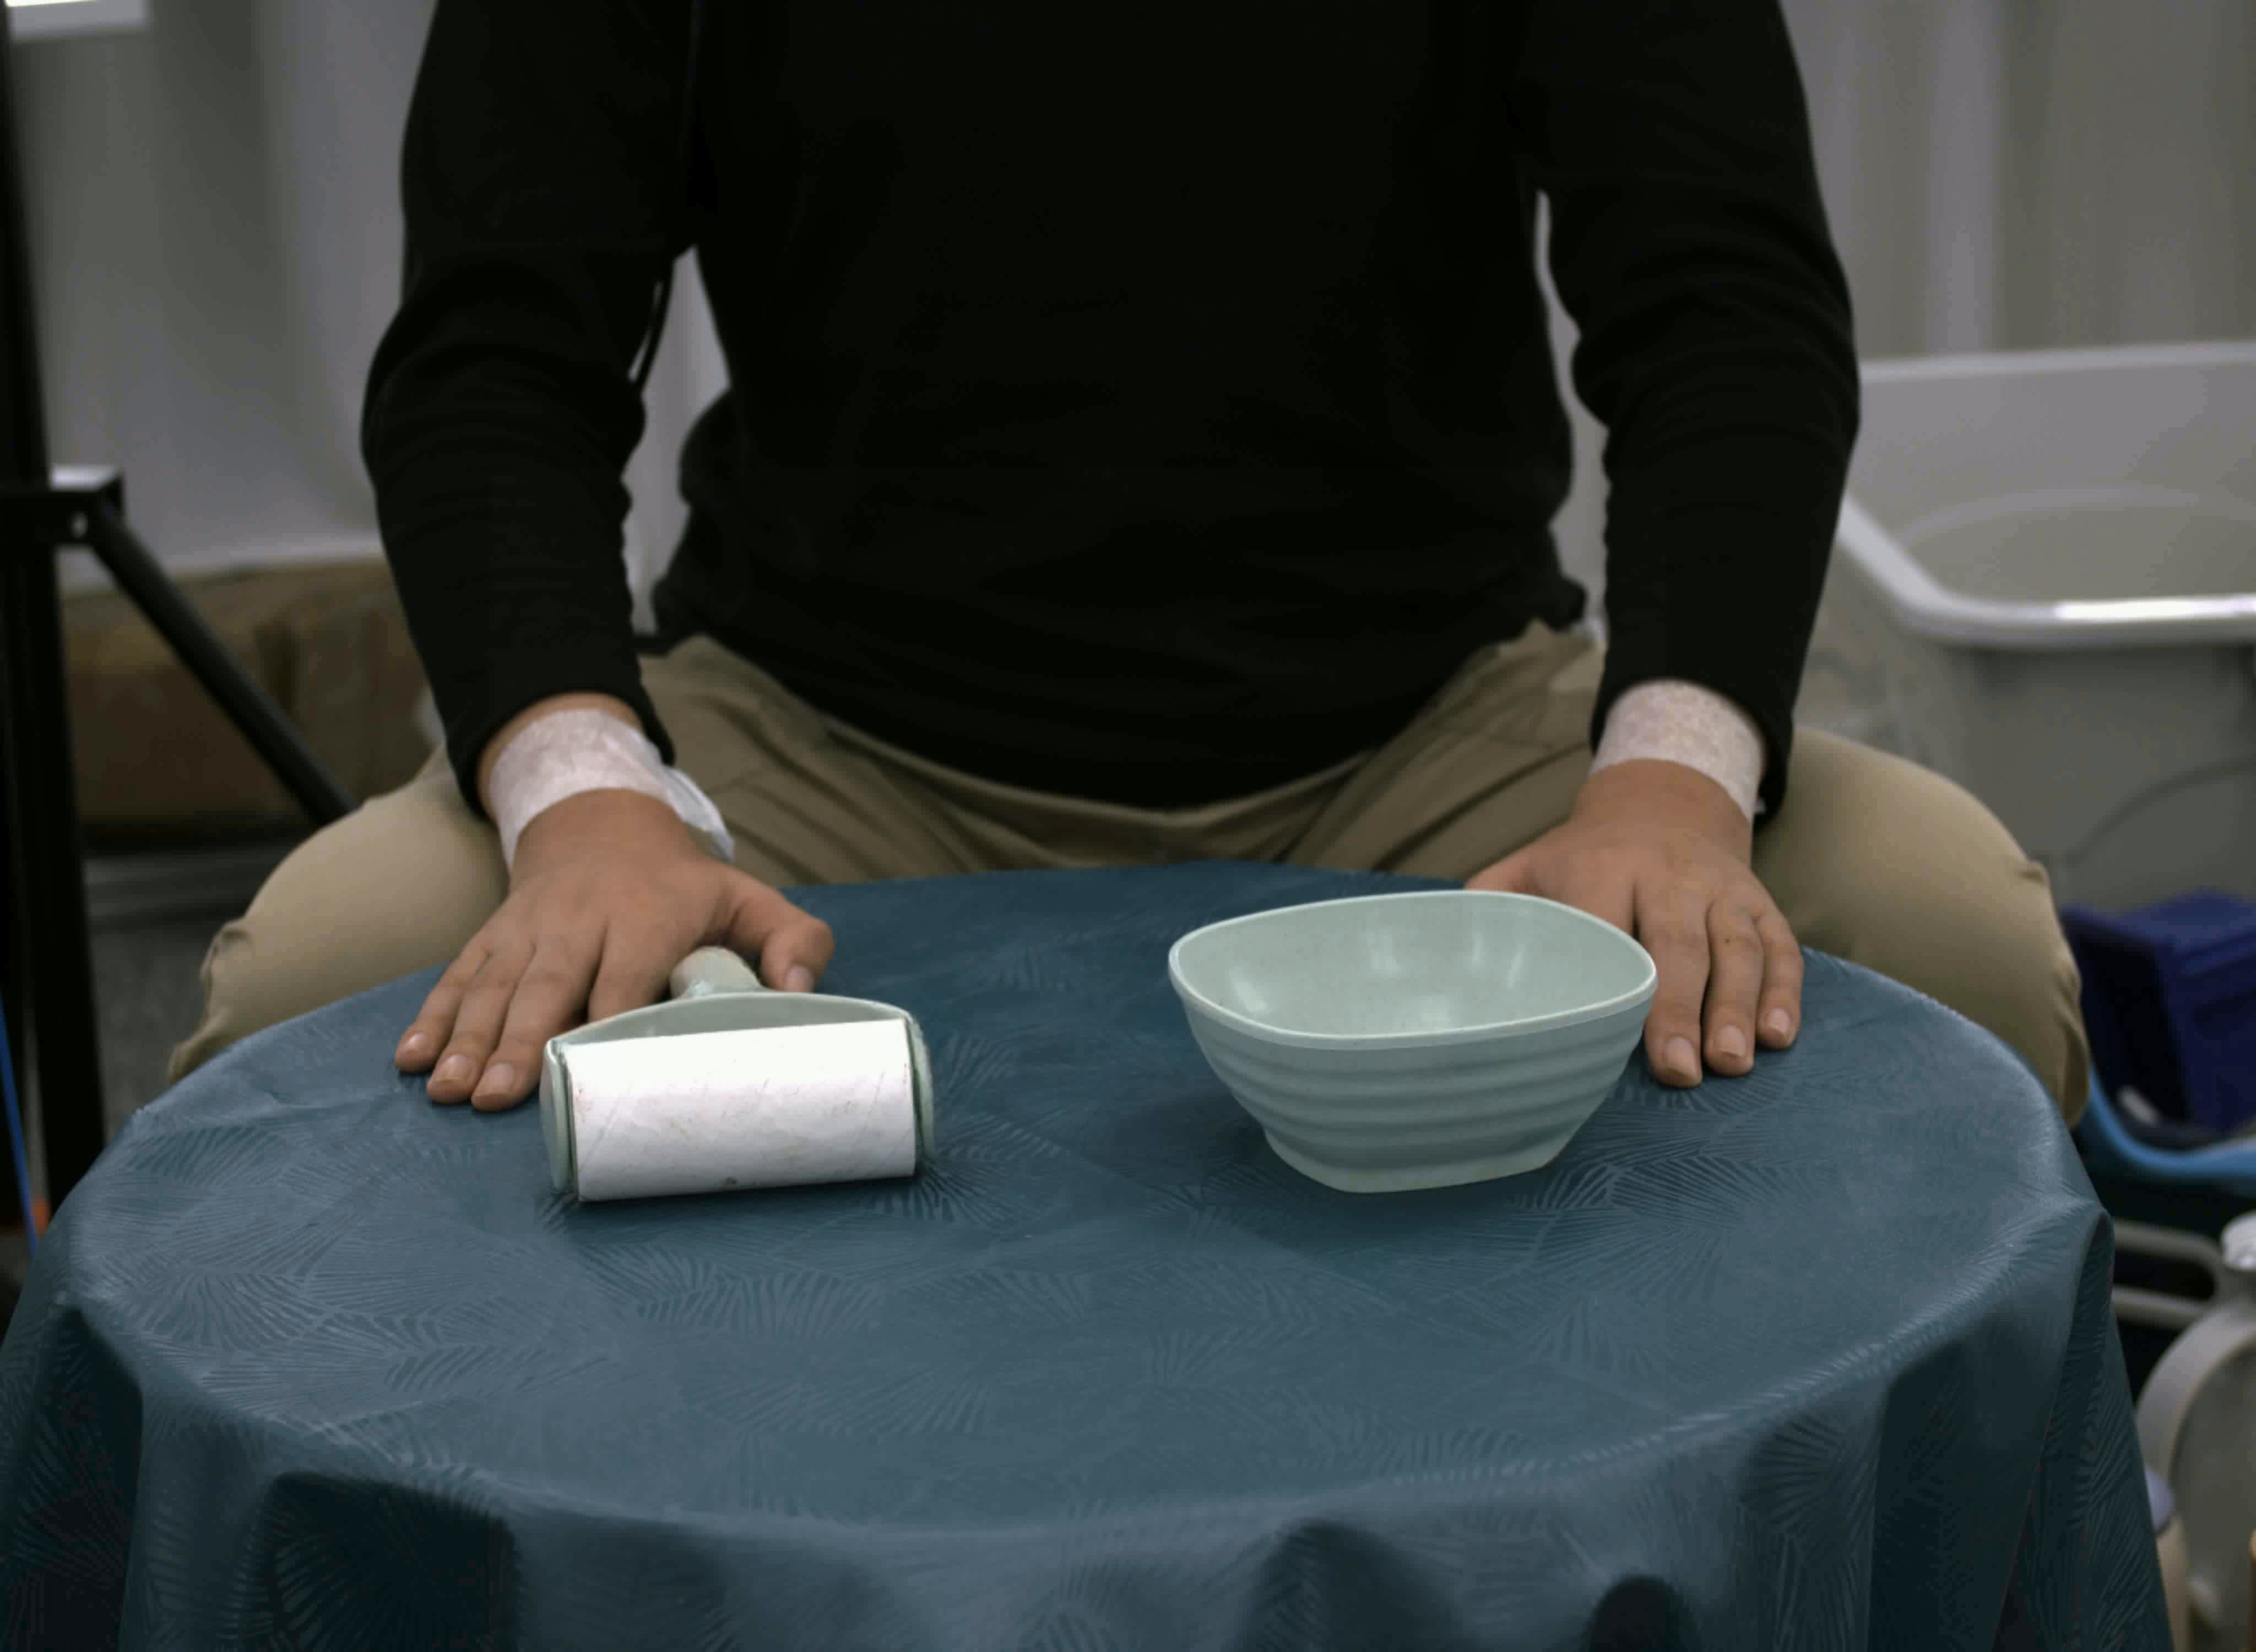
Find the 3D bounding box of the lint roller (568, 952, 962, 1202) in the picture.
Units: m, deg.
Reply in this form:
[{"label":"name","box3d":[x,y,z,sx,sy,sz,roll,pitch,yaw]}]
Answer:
[{"label":"lint roller","box3d":[-0.117,0.066,1.646,0.115,0.048,0.199,-6,15,-6]}]

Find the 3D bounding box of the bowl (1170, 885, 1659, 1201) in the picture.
[{"label":"bowl","box3d":[0.085,0.068,1.581,0.151,0.058,0.152,-3,17,0]}]
